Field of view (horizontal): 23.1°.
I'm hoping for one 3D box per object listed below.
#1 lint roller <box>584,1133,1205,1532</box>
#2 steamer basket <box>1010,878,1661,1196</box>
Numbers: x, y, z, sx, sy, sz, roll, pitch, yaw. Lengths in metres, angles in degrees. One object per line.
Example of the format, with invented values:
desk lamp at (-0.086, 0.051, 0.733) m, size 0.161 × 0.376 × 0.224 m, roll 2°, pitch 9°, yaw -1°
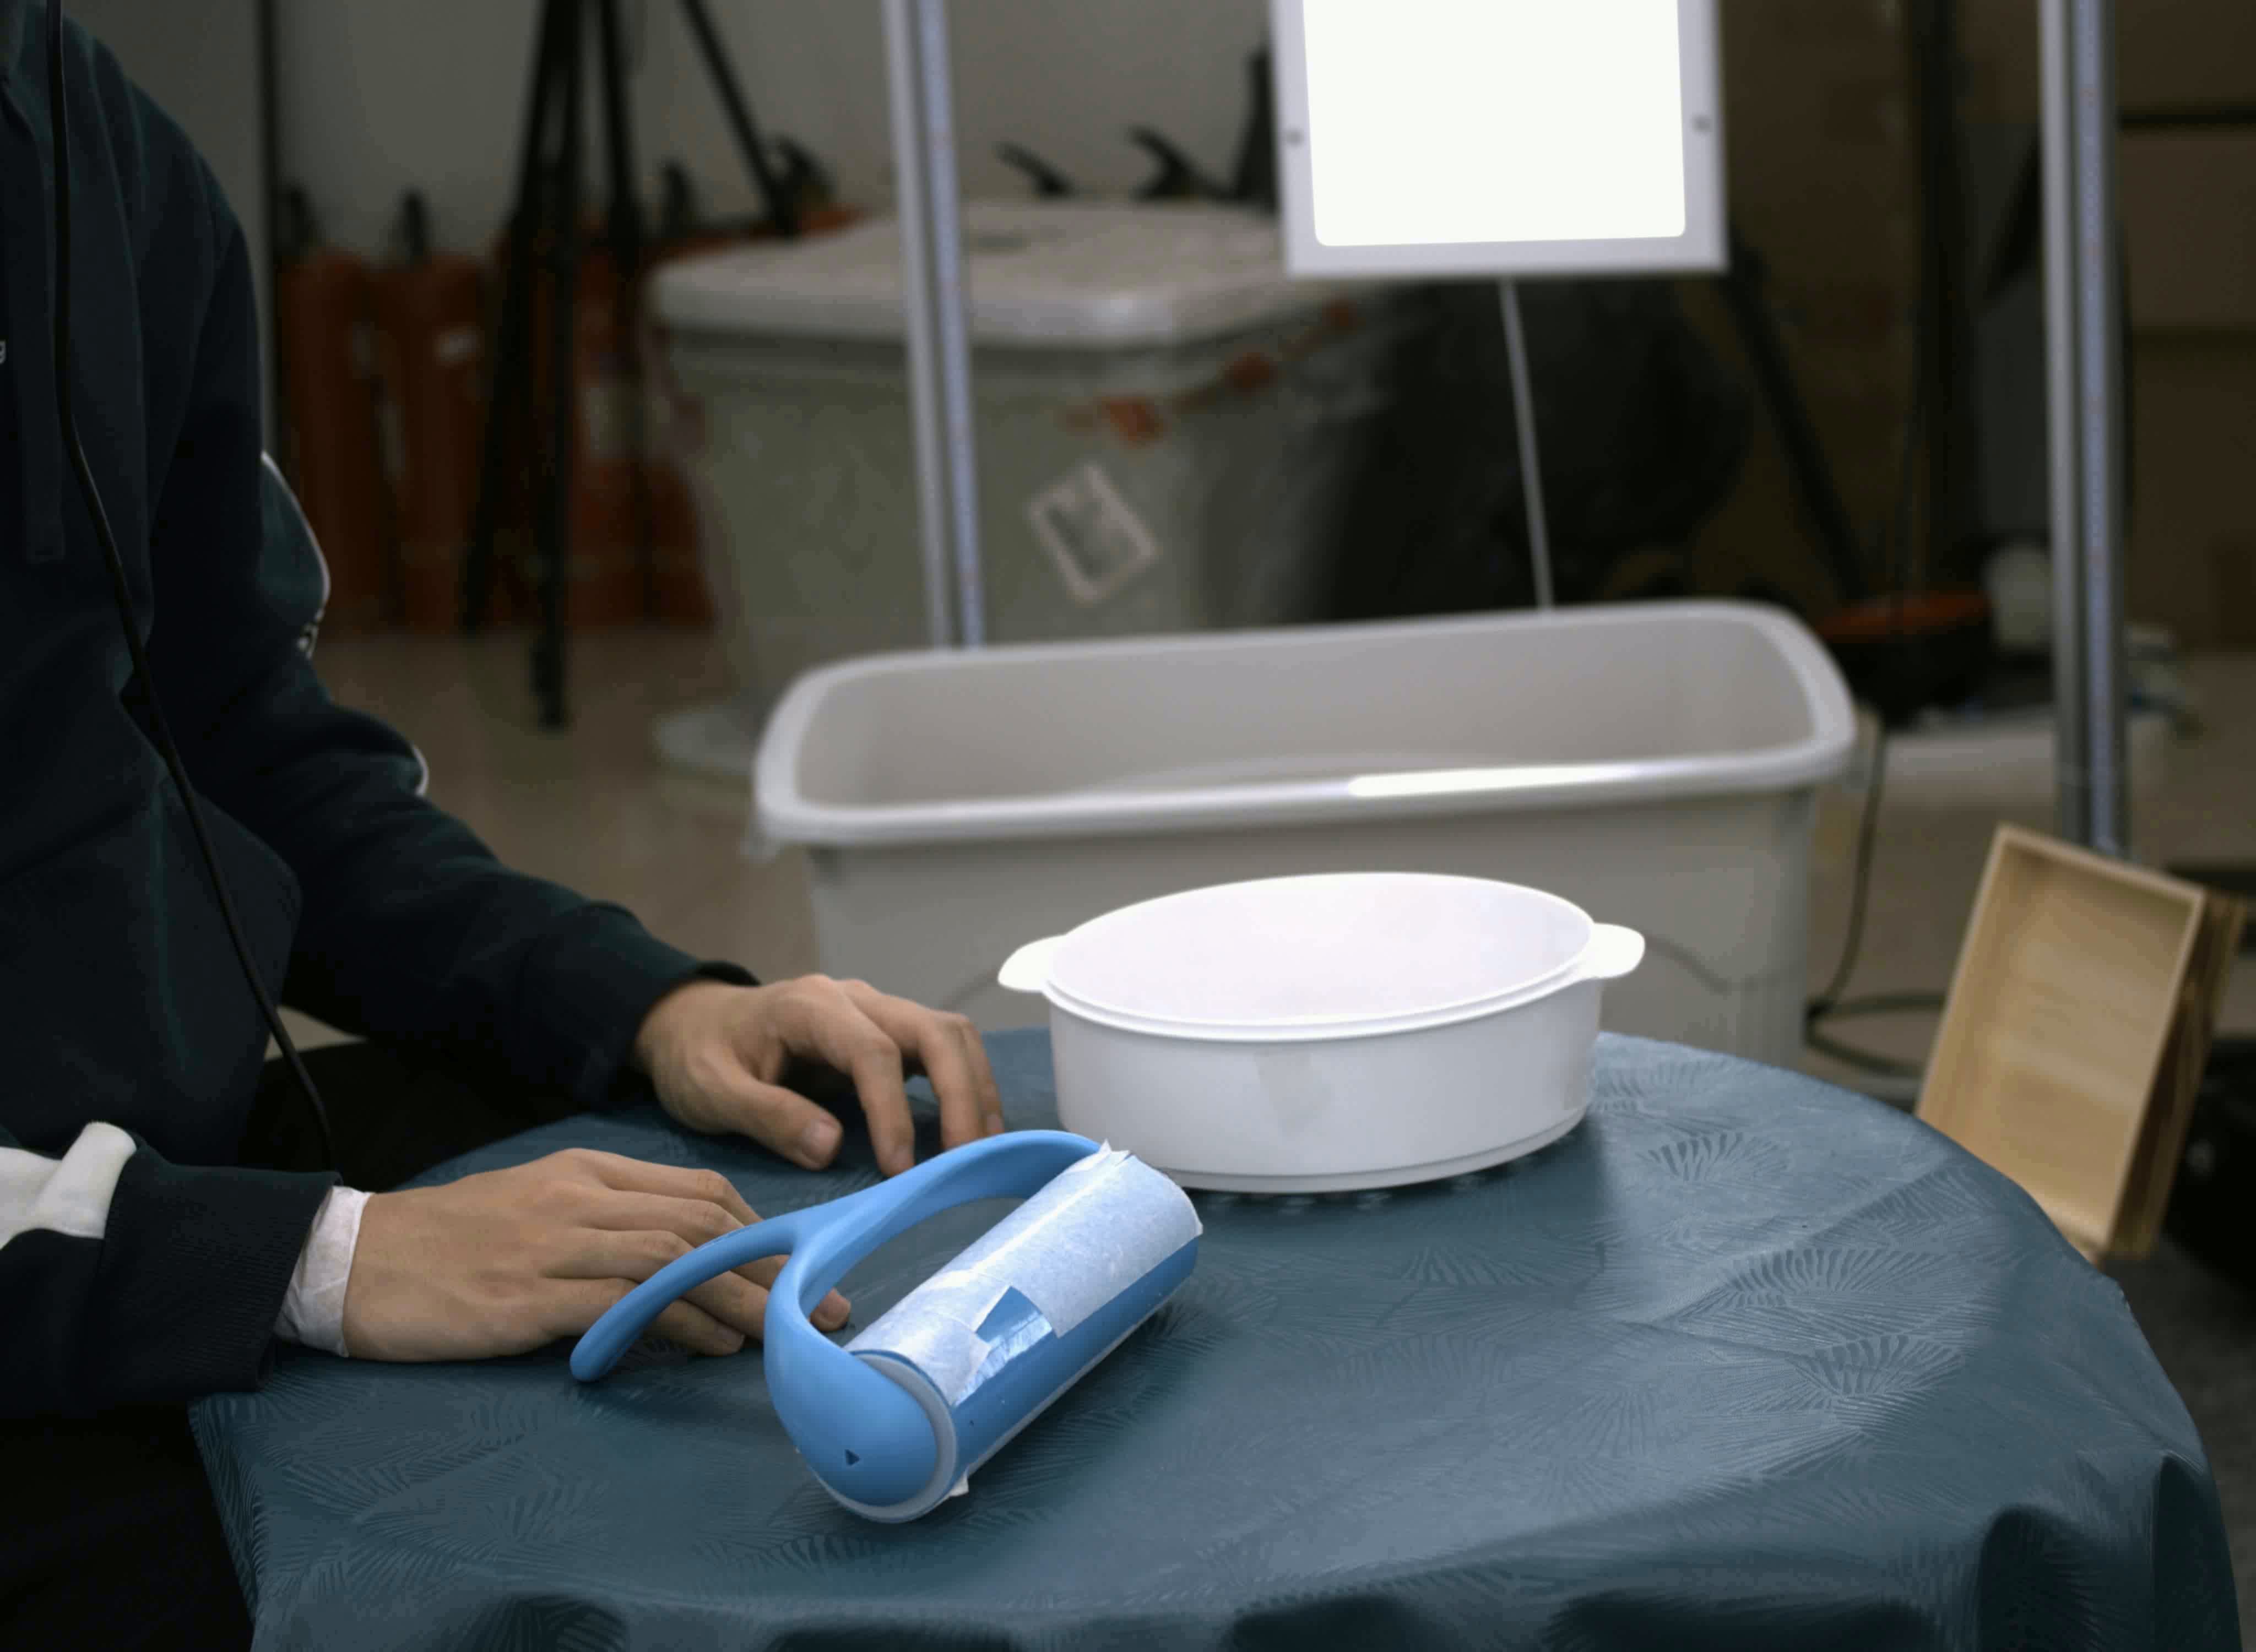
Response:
lint roller at (-0.089, 0.153, 1.706) m, size 0.182 × 0.068 × 0.225 m, roll 1°, pitch 17°, yaw 19°
steamer basket at (0.075, 0.074, 1.939) m, size 0.232 × 0.069 × 0.199 m, roll -3°, pitch 13°, yaw 14°
